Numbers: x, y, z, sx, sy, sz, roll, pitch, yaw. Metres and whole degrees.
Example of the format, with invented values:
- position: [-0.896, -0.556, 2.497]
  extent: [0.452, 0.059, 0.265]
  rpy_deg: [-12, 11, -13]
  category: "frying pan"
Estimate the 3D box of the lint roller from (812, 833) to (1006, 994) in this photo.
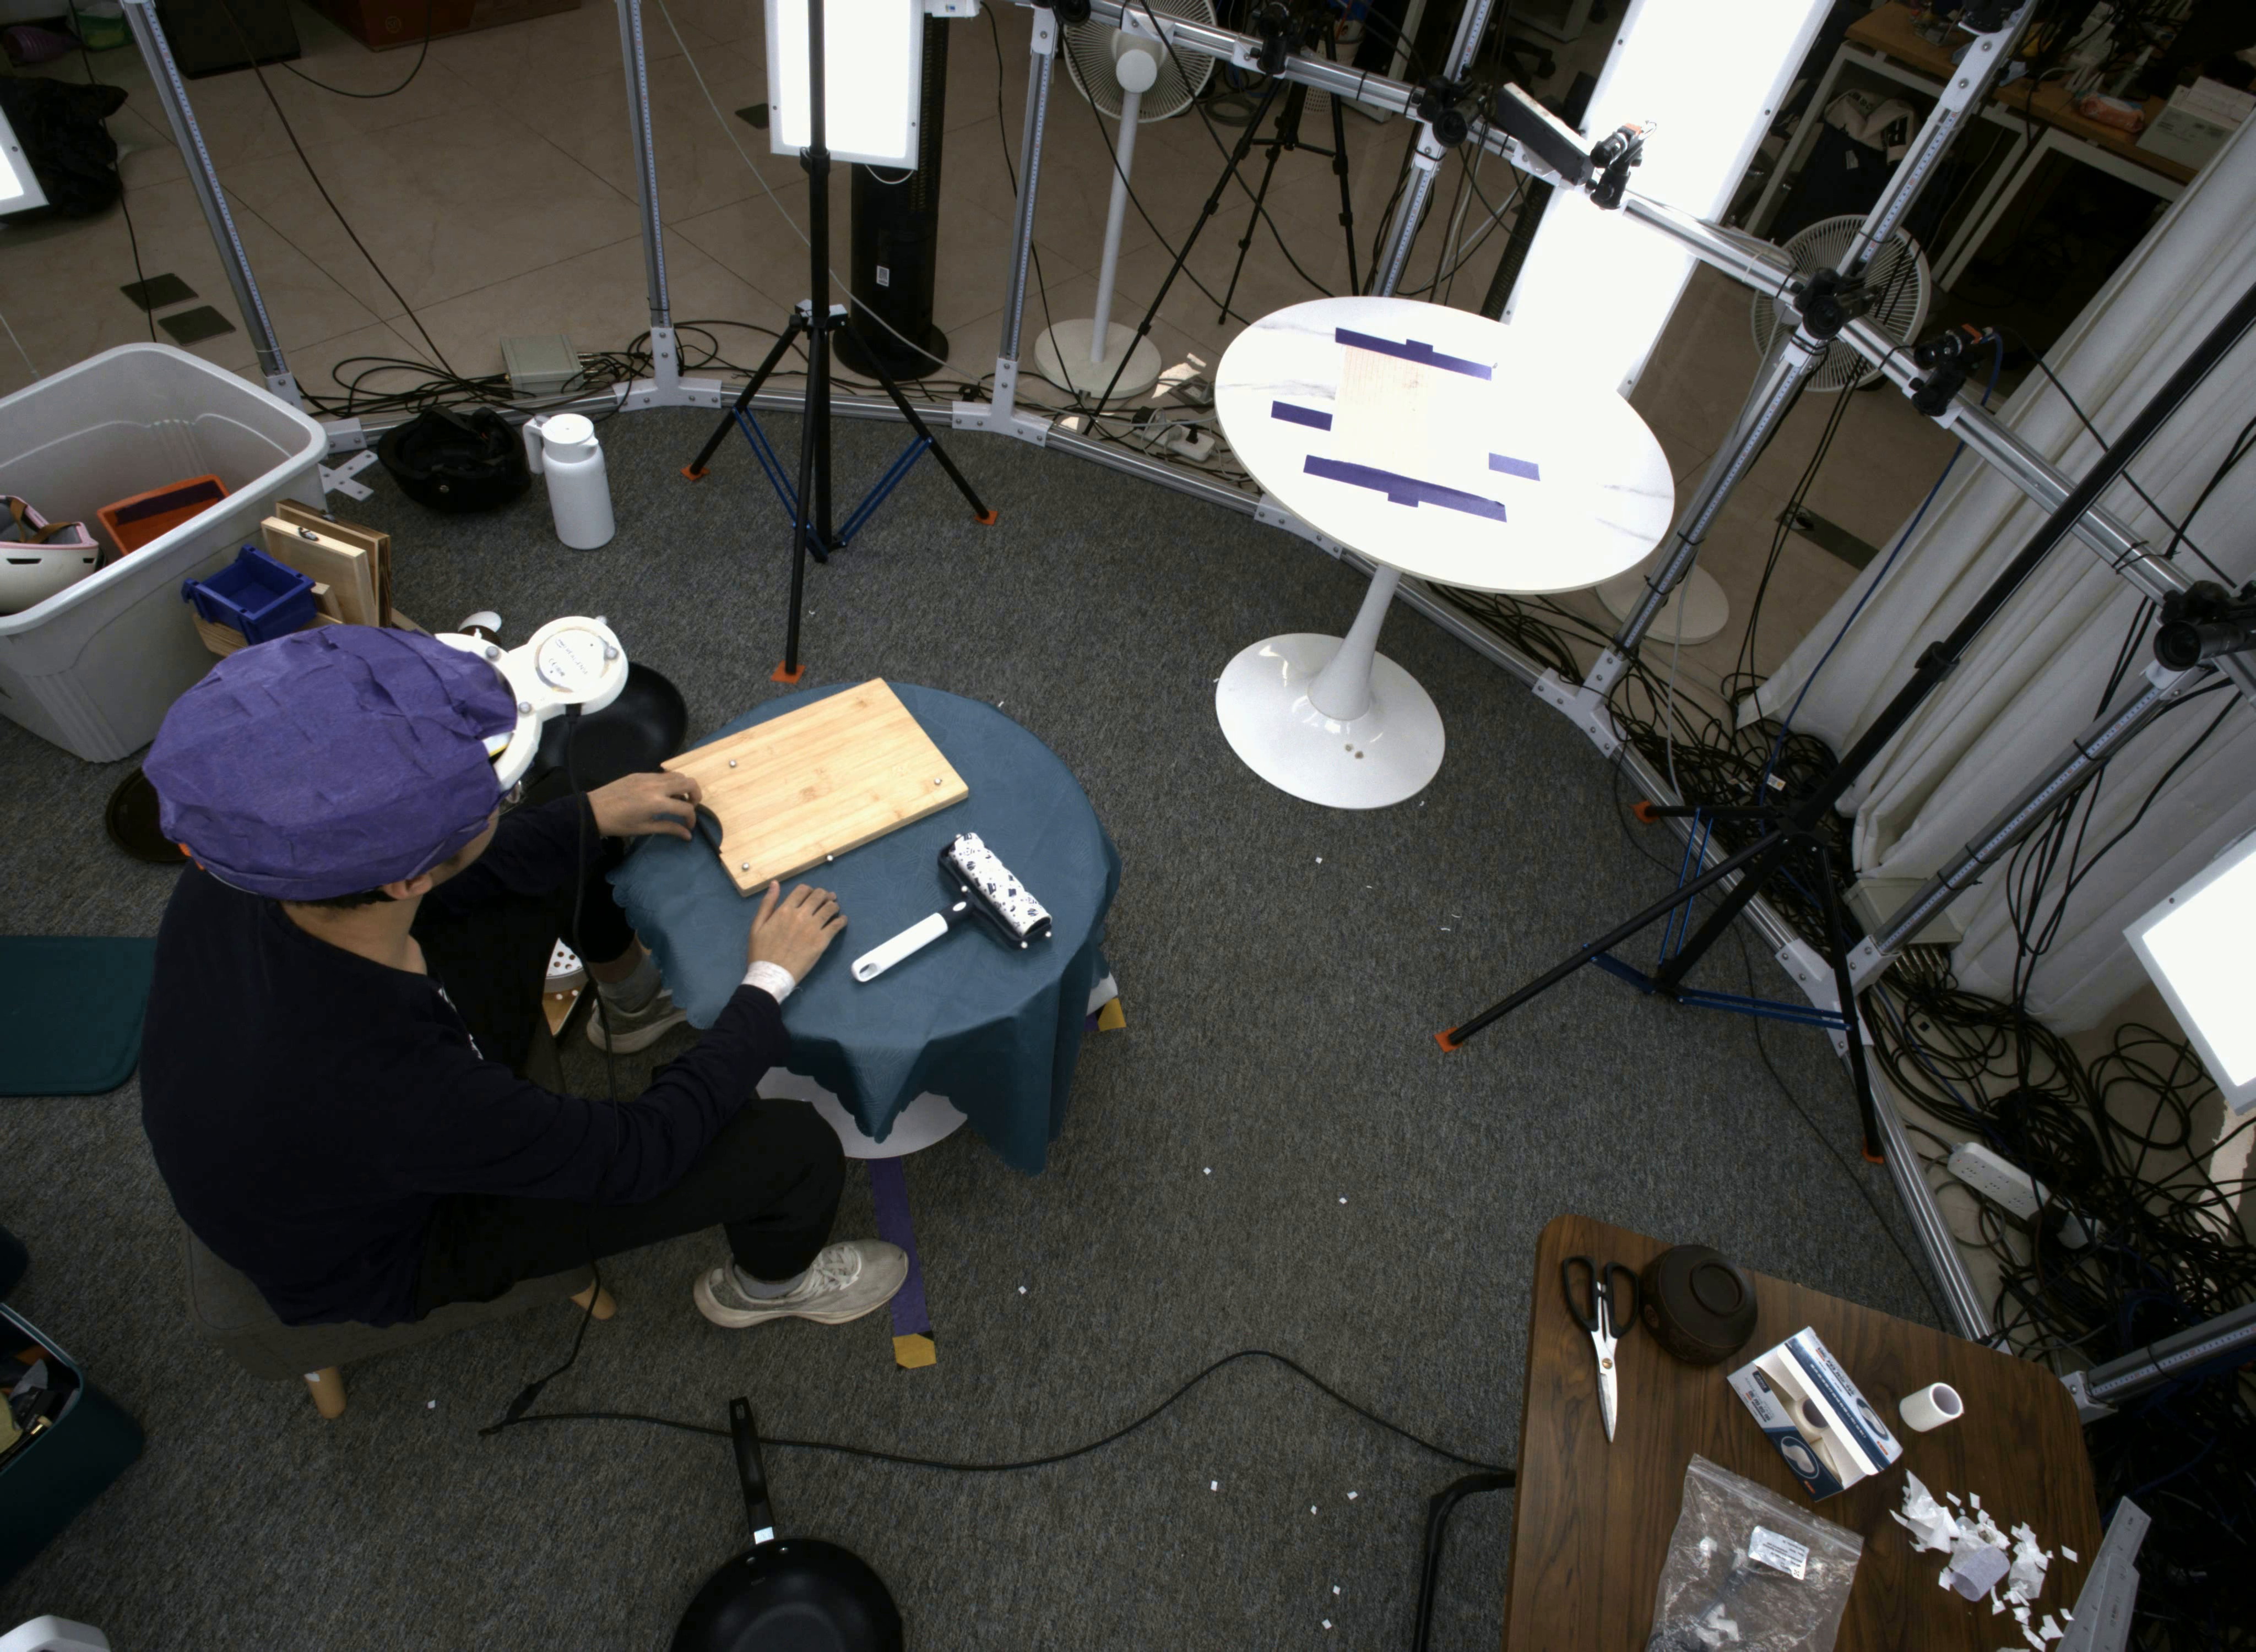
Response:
- position: [-0.296, 0.128, 1.647]
  extent: [0.172, 0.051, 0.247]
  rpy_deg: [43, 58, 17]
  category: "lint roller"

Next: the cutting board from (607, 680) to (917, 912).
- position: [-0.491, -0.051, 1.746]
  extent: [0.350, 0.024, 0.245]
  rpy_deg: [-30, 66, -31]
  category: "cutting board"
